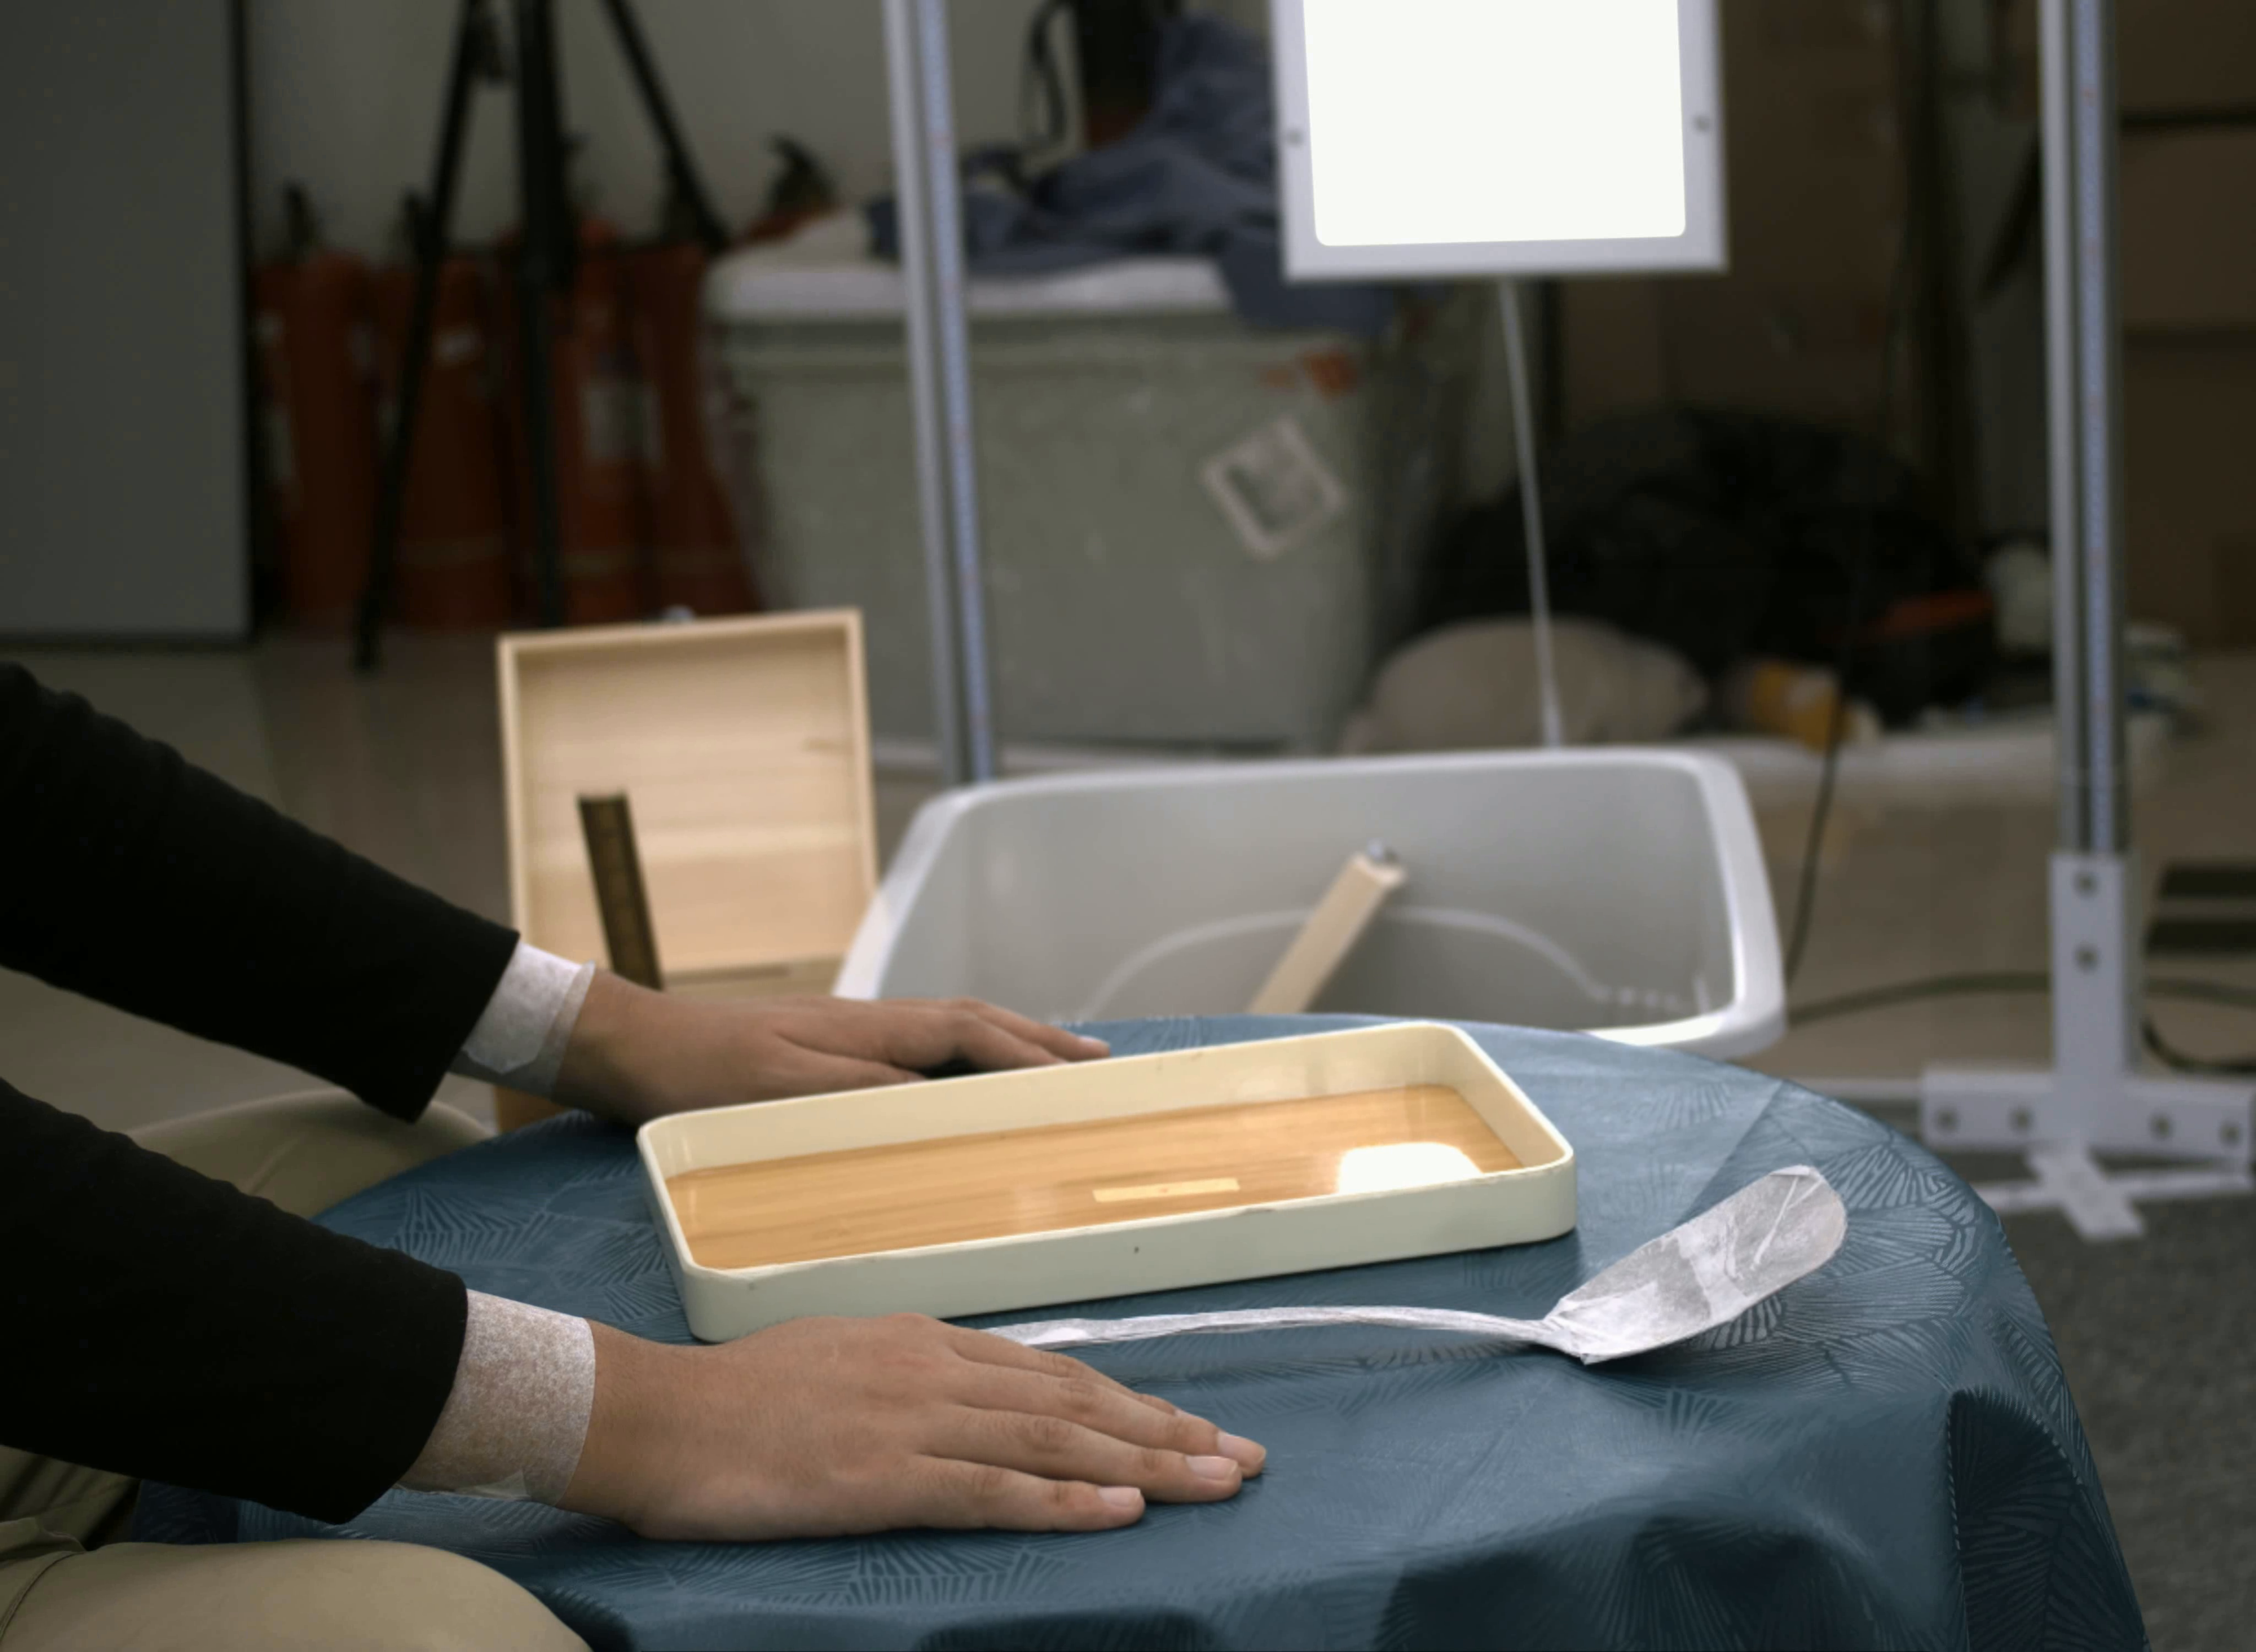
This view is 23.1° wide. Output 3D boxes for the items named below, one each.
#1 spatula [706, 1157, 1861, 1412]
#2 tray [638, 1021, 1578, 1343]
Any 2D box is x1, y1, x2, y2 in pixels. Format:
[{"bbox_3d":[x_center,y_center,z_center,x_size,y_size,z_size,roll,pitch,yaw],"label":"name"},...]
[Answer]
[{"bbox_3d":[0.047,0.149,1.709,0.364,0.045,0.098,-5,14,2],"label":"spatula"},{"bbox_3d":[-0.011,0.119,1.876,0.298,0.027,0.192,-7,14,-7],"label":"tray"}]
